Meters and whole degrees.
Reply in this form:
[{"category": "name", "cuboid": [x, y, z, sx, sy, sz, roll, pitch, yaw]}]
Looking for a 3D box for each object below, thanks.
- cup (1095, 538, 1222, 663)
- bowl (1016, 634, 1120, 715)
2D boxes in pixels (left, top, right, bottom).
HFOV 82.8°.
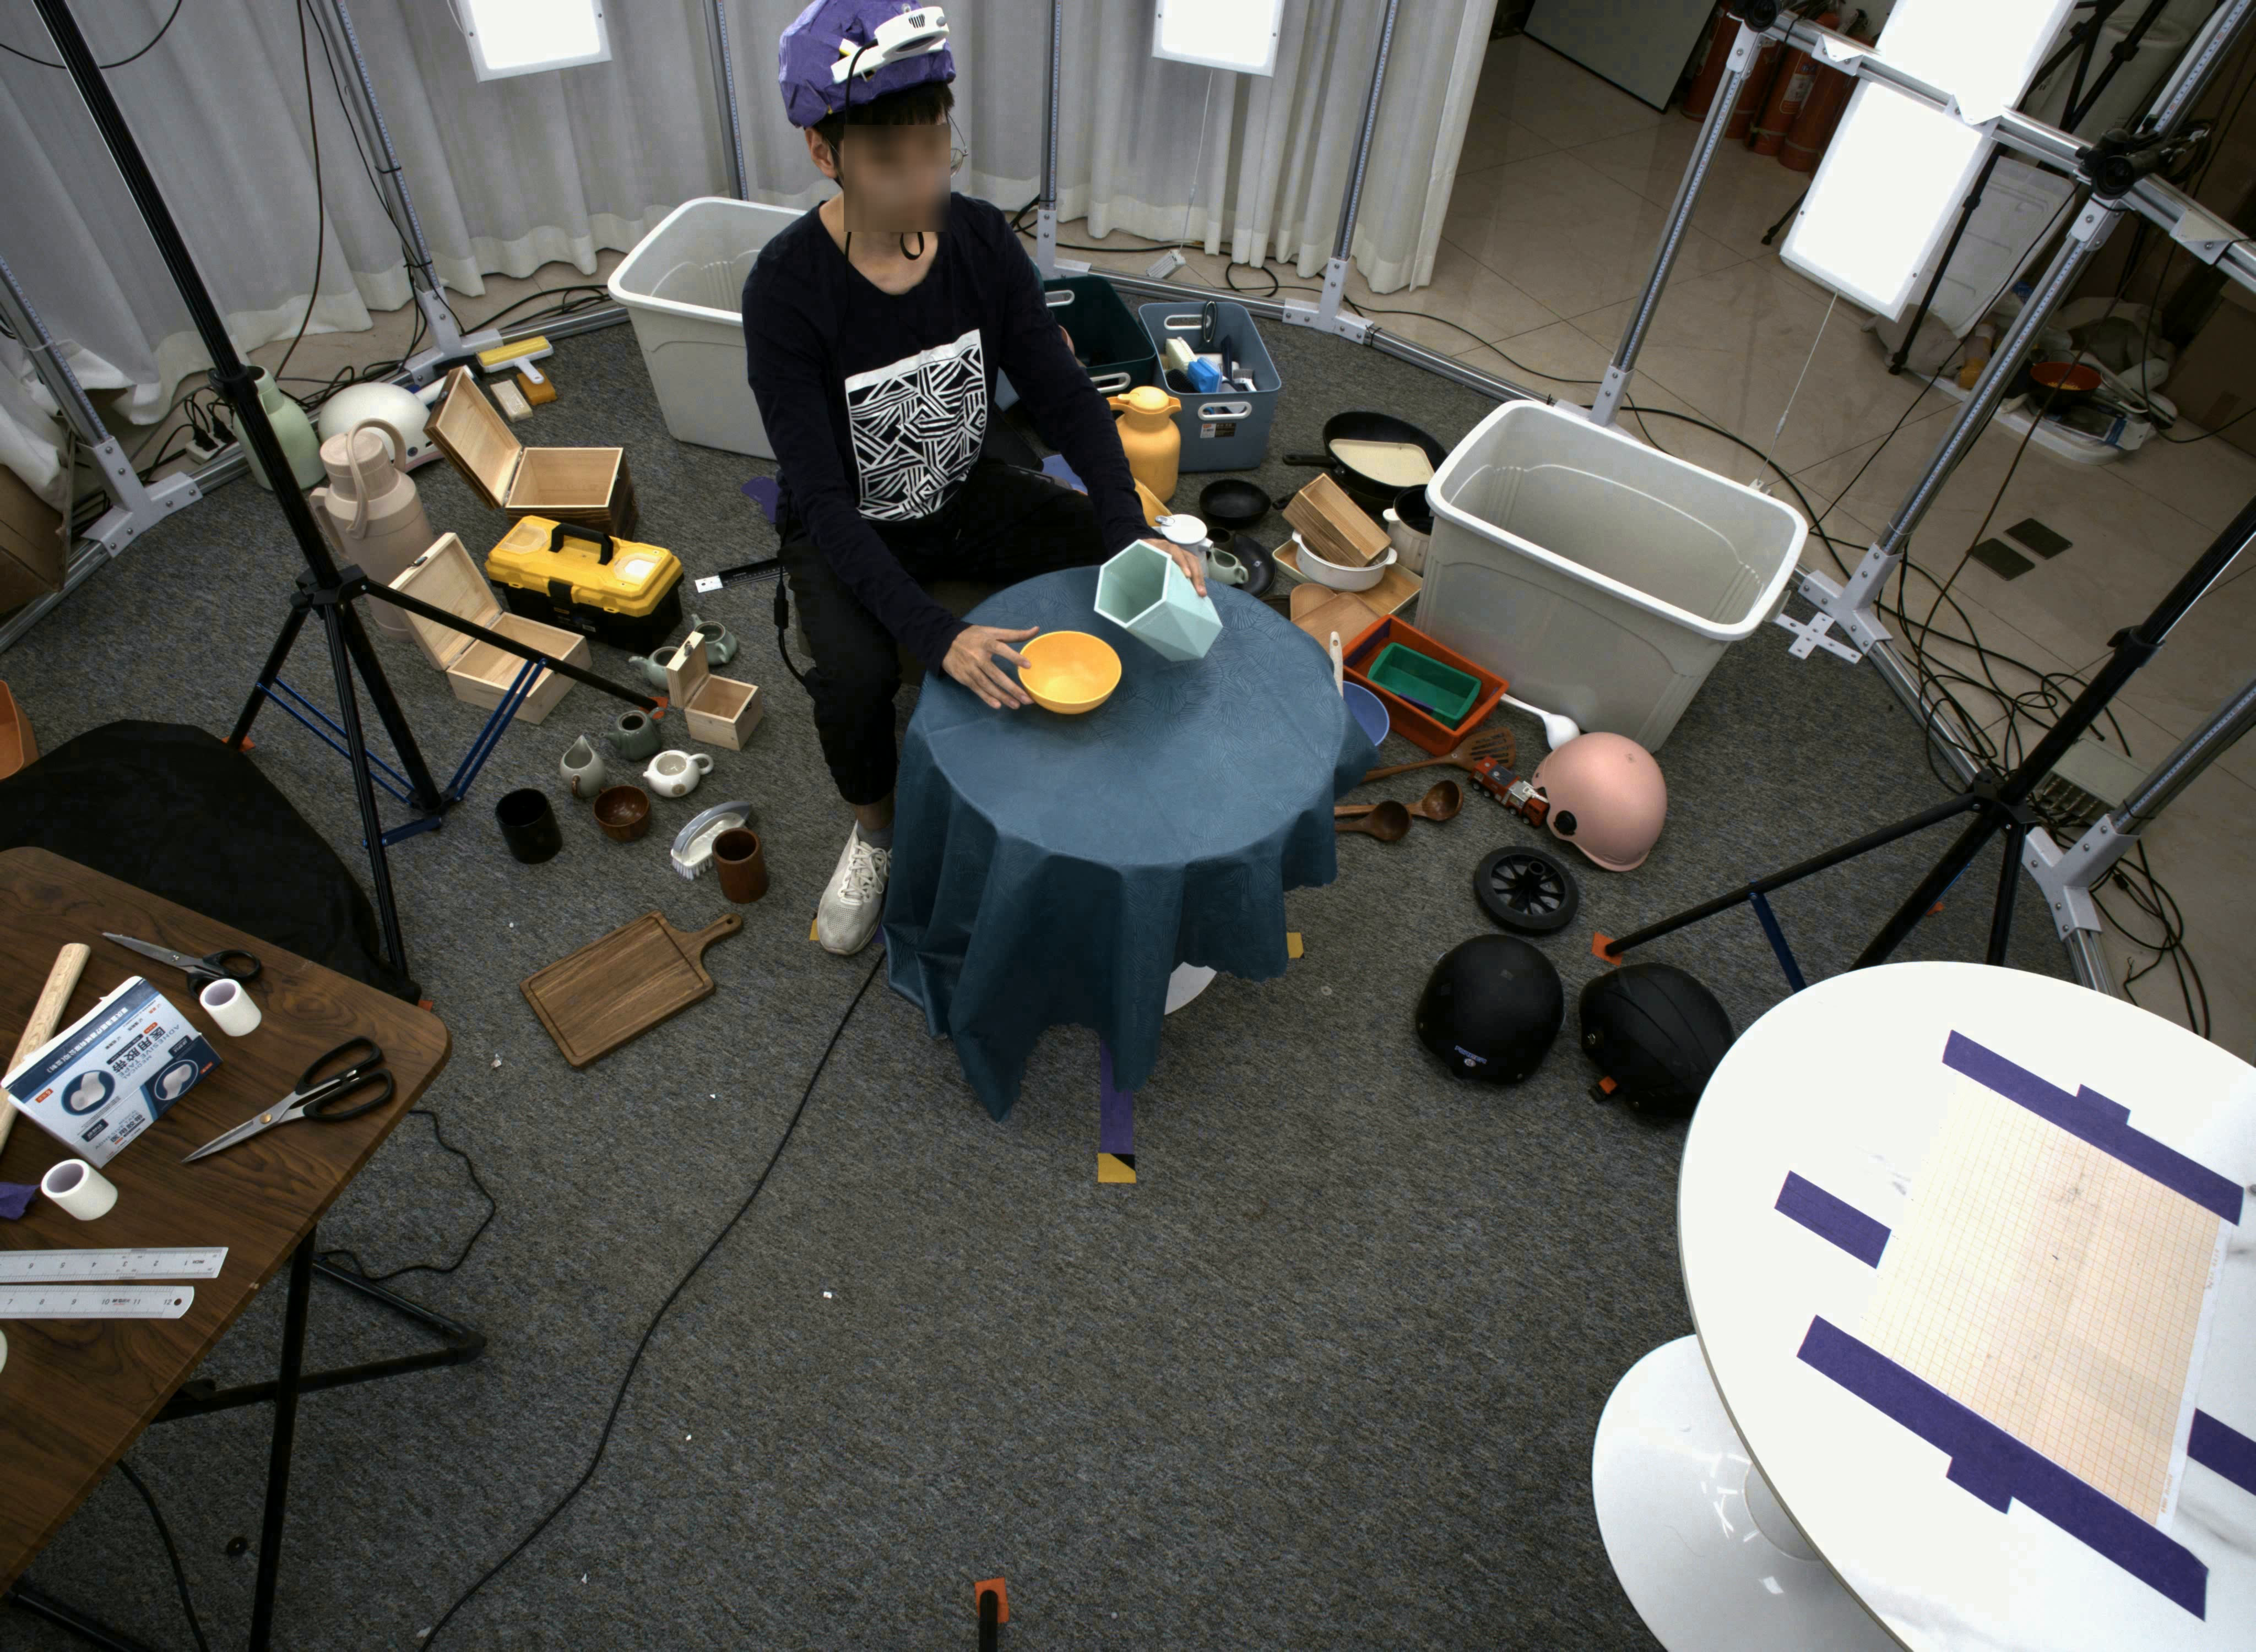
[{"category": "cup", "cuboid": [0.049, -0.305, 1.794, 0.130, 0.160, 0.118, -34, 55, 18]}, {"category": "bowl", "cuboid": [-0.084, -0.201, 1.801, 0.145, 0.058, 0.149, 2, 47, -2]}]
